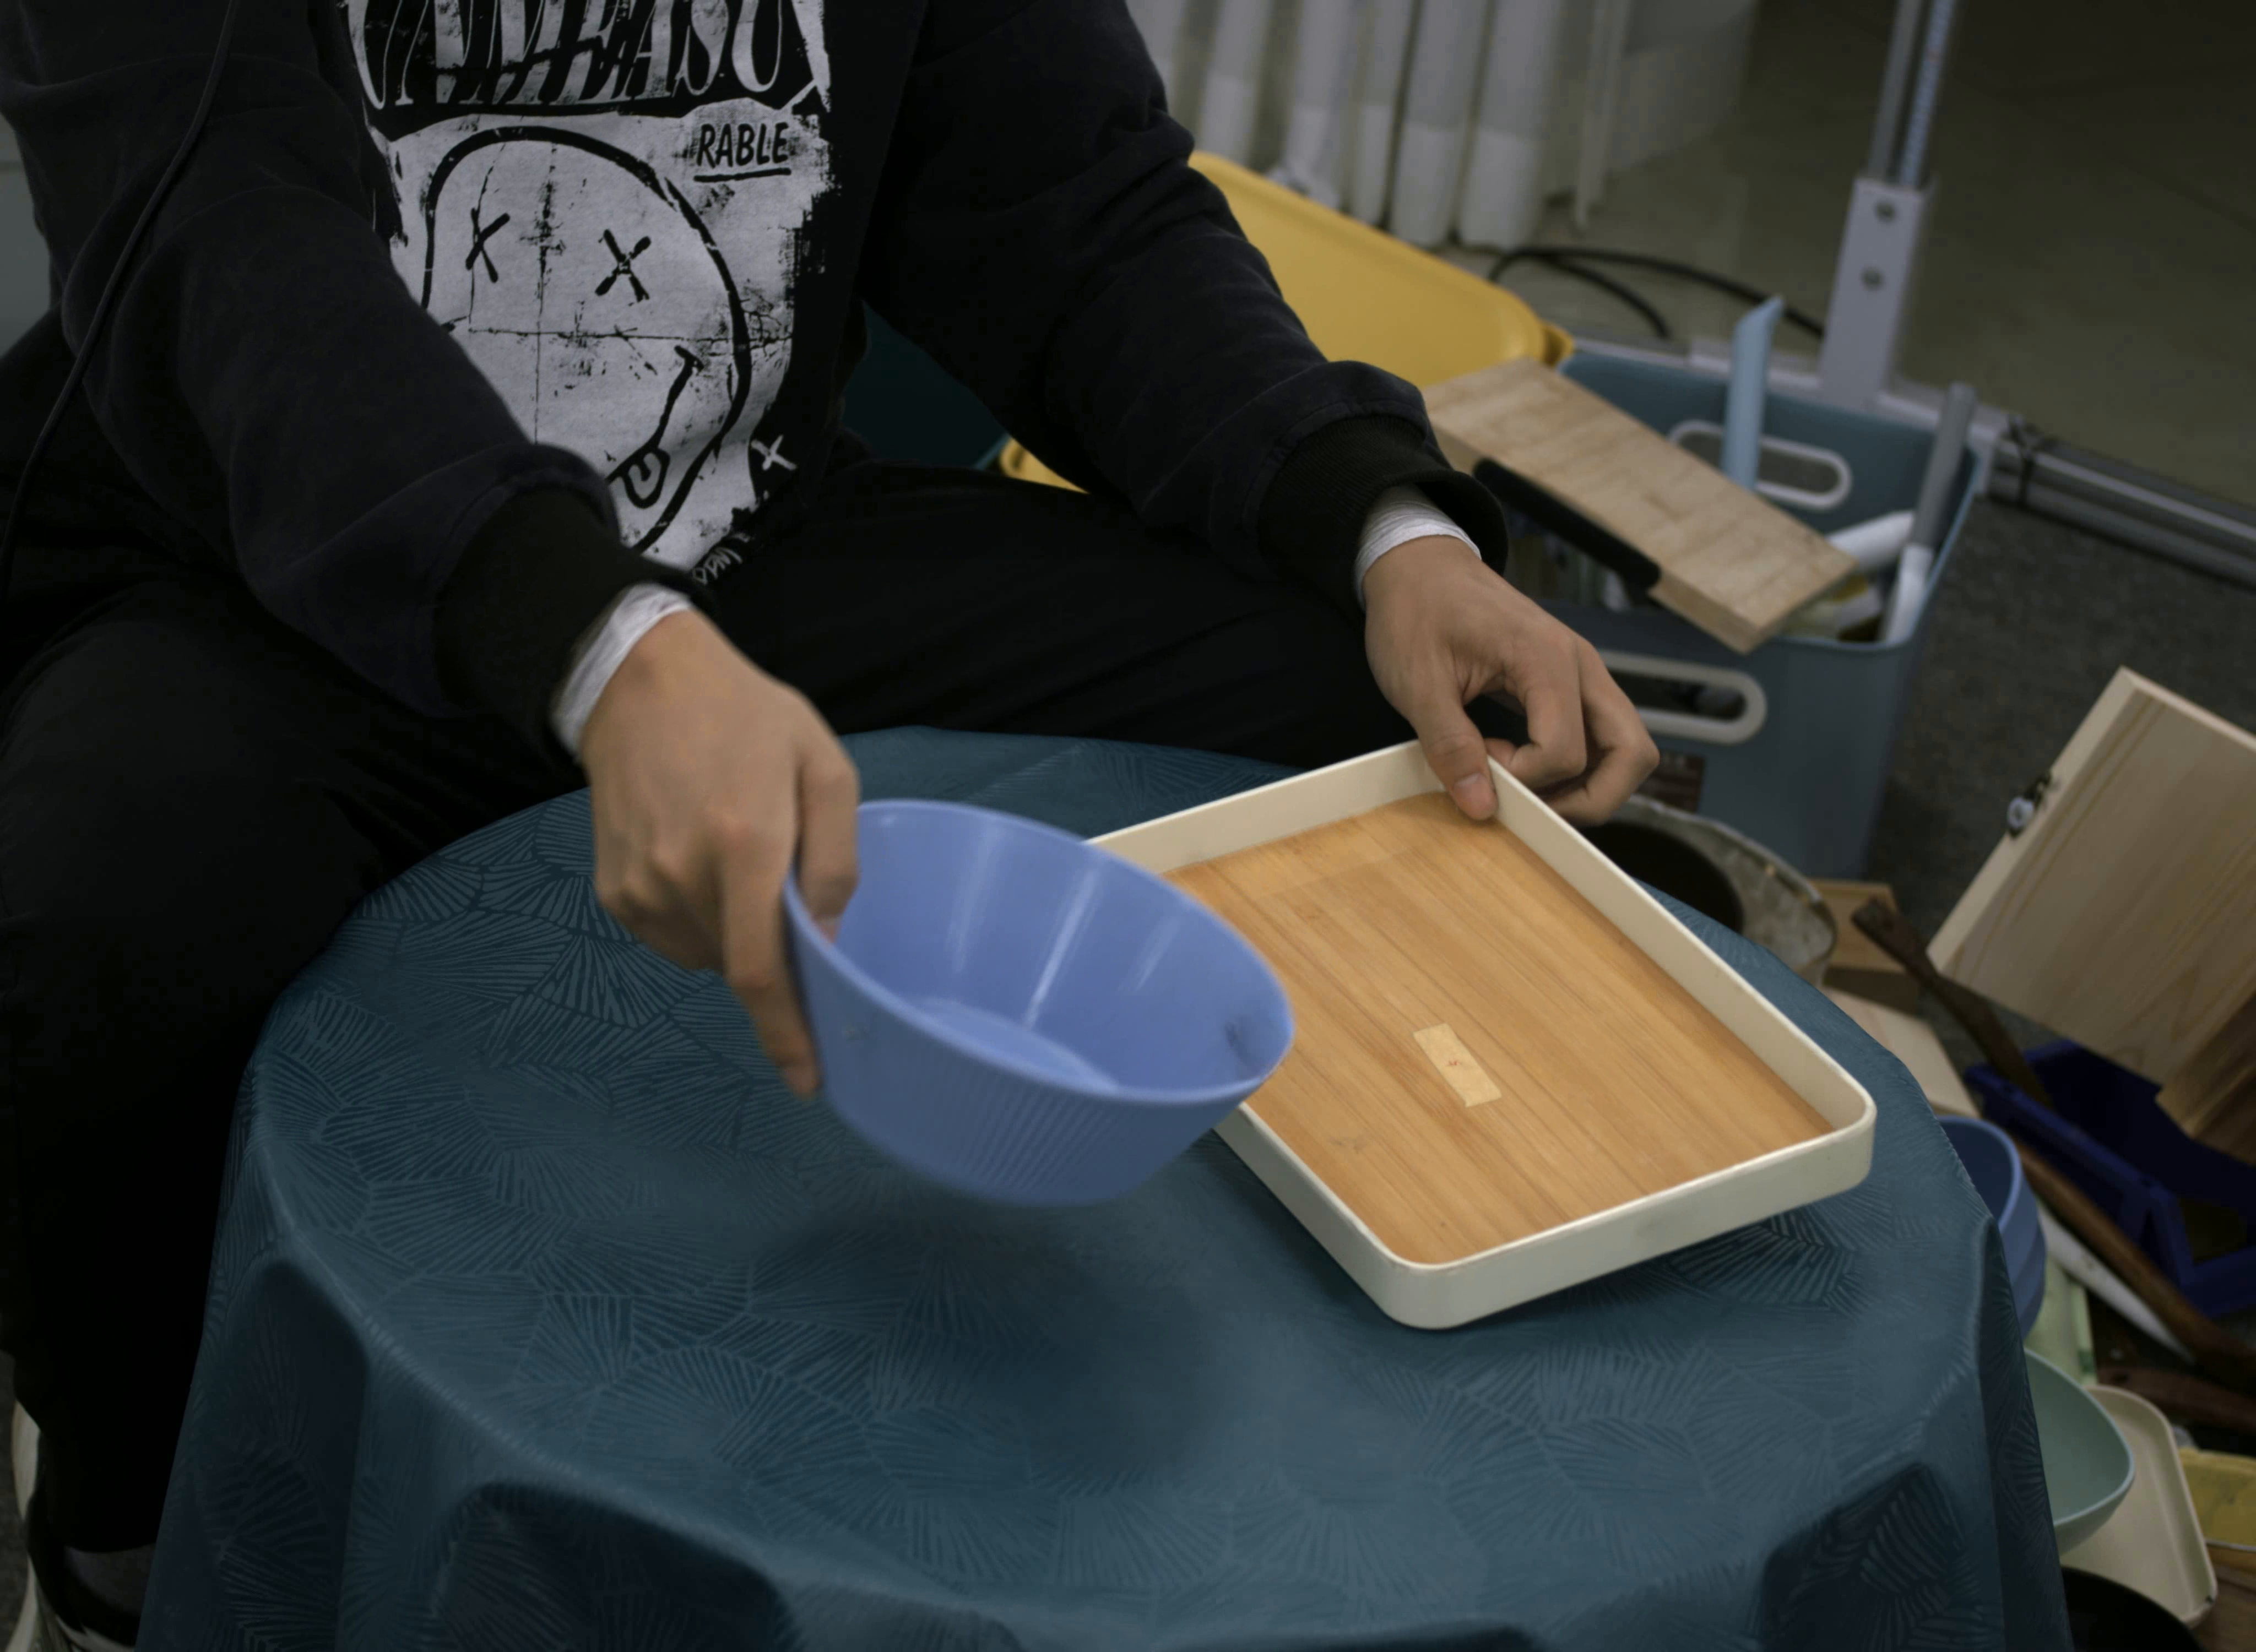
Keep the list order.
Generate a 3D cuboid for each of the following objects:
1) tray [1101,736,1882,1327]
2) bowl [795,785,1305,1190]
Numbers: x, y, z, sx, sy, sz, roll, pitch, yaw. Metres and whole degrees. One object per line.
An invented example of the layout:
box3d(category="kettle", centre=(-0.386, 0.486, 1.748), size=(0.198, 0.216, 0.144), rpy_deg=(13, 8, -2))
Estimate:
box3d(category="tray", centre=(0.110, 0.066, 1.875), size=(0.190, 0.027, 0.303), rpy_deg=(-17, 34, -21))
box3d(category="bowl", centre=(-0.035, 0.059, 1.725), size=(0.175, 0.070, 0.177), rpy_deg=(19, 24, -9))
